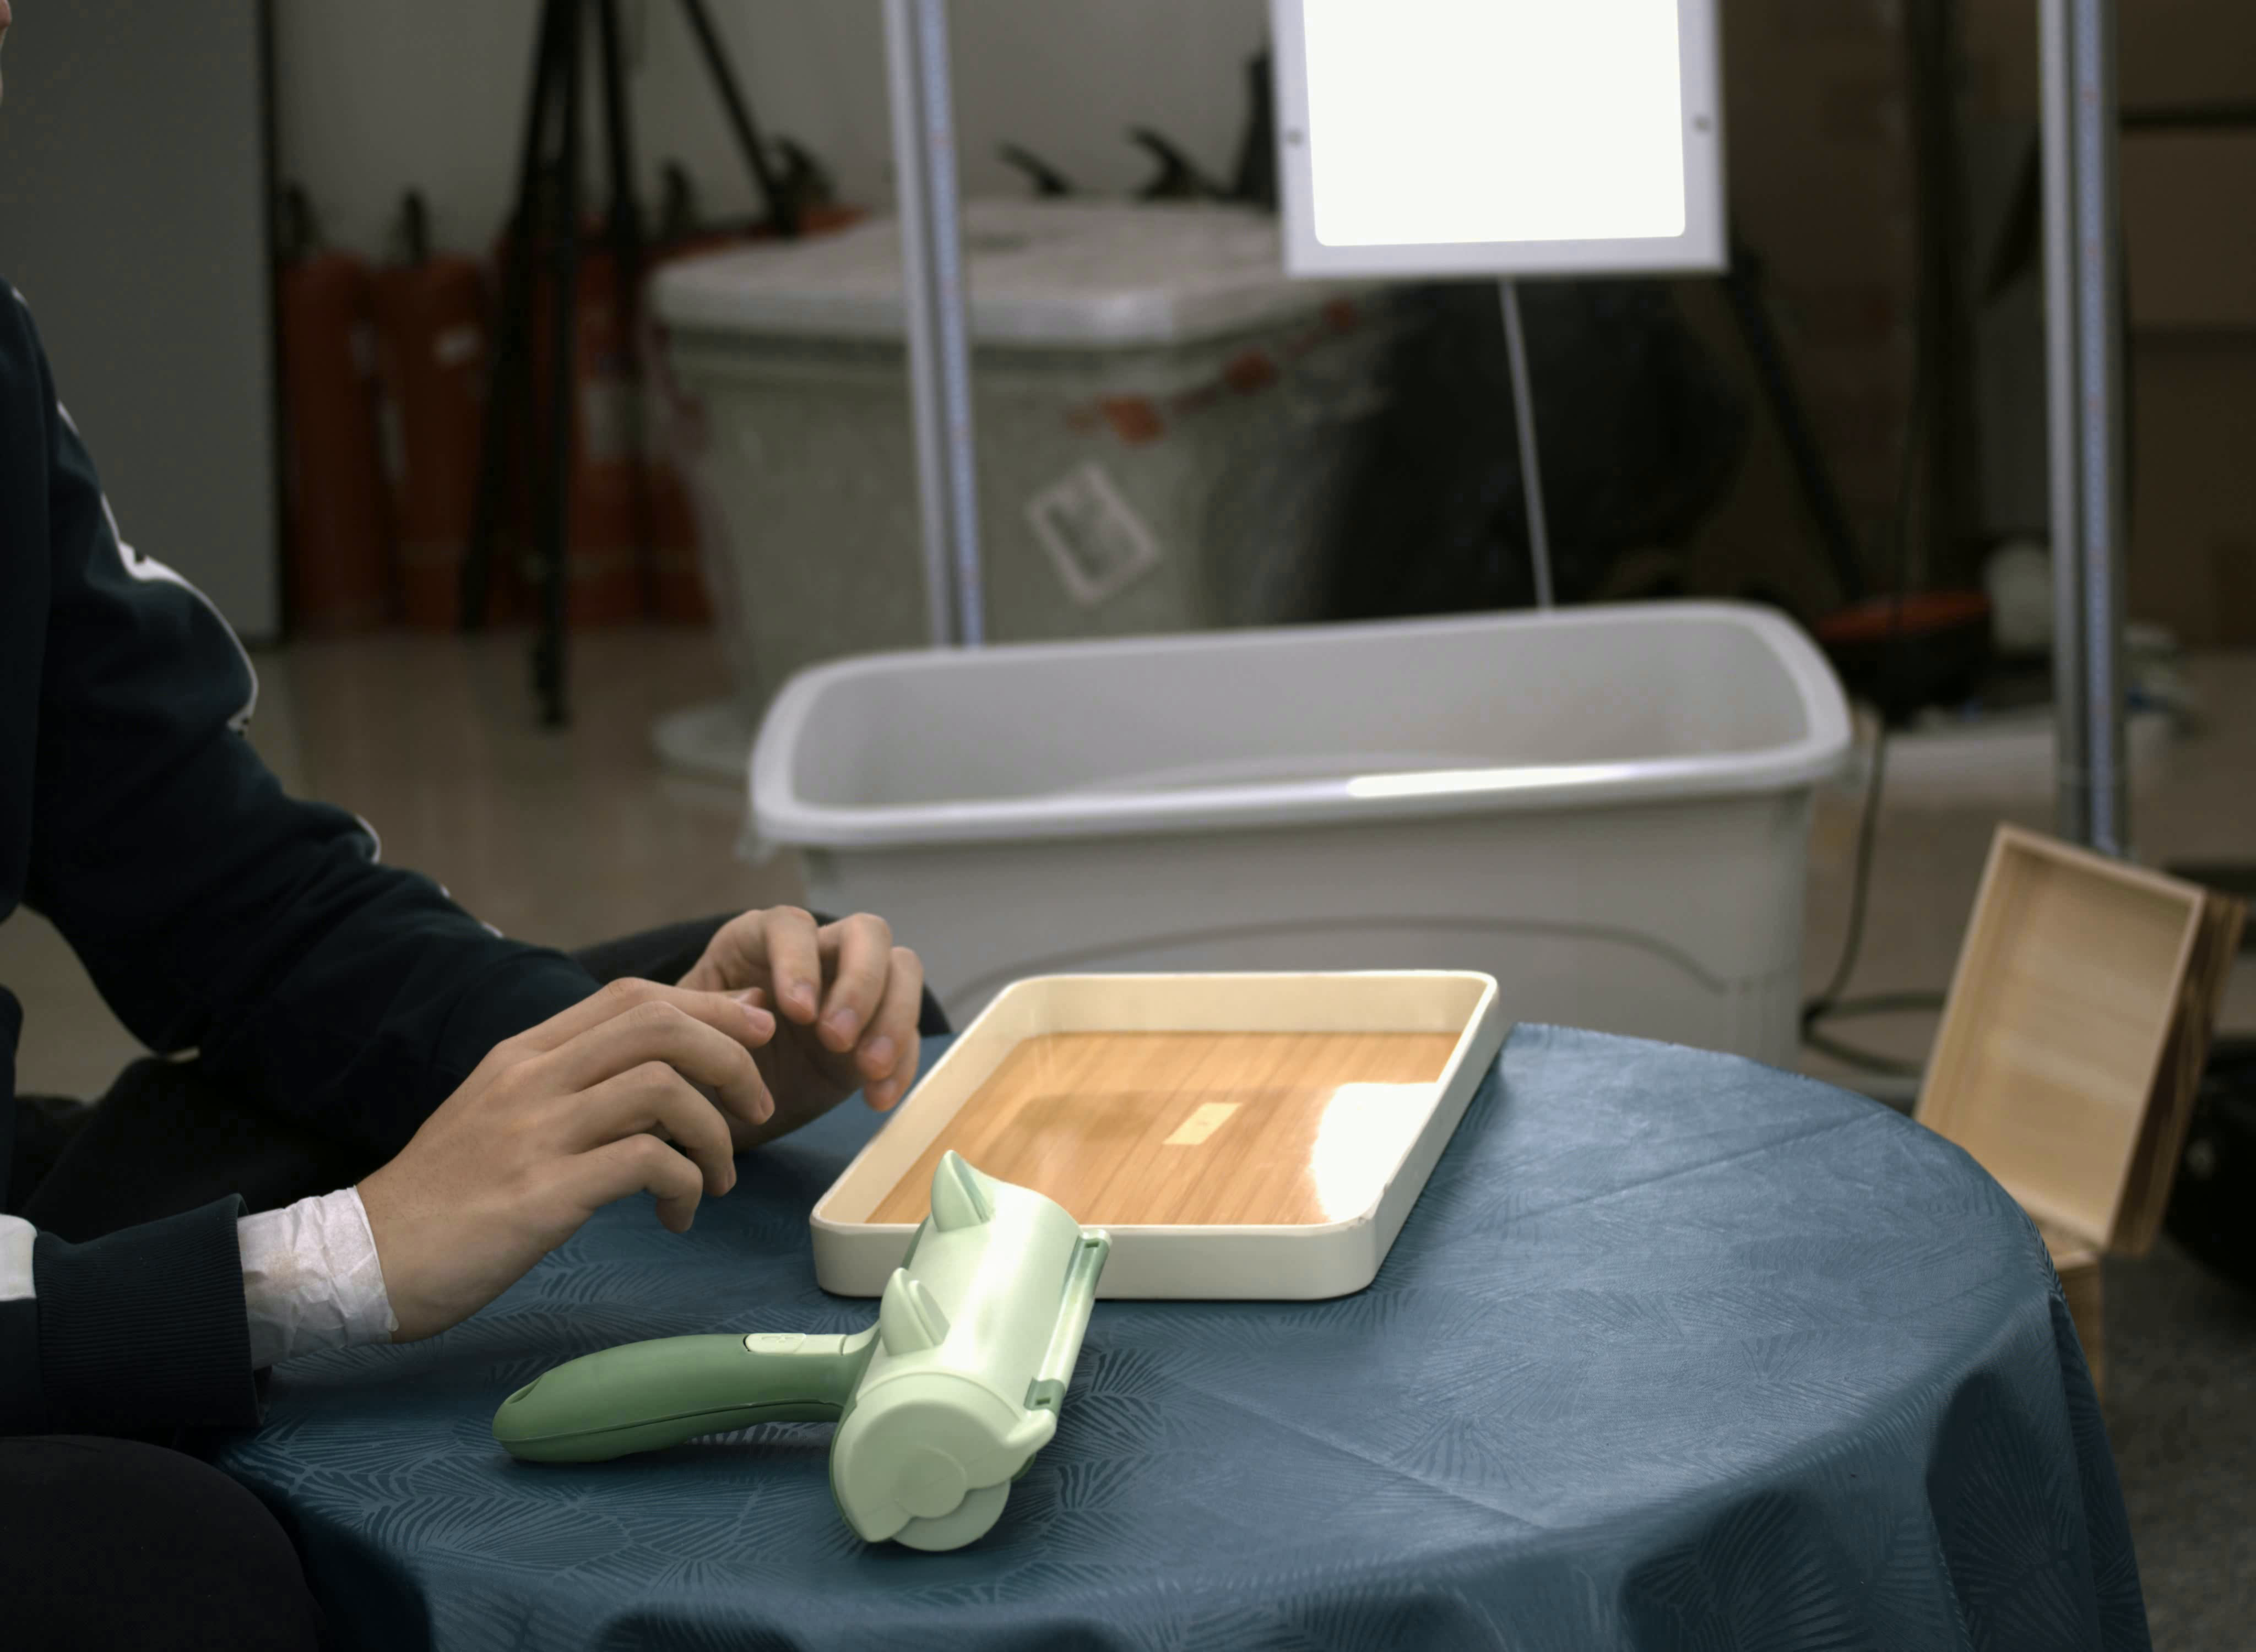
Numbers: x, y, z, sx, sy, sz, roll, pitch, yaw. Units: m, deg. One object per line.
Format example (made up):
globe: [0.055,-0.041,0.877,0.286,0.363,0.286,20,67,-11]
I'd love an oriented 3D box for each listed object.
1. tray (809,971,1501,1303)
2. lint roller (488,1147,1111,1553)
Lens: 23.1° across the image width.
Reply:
tray: [0.017,0.105,1.920,0.193,0.027,0.296,-2,14,15]
lint roller: [-0.104,0.153,1.666,0.184,0.082,0.197,1,14,7]
